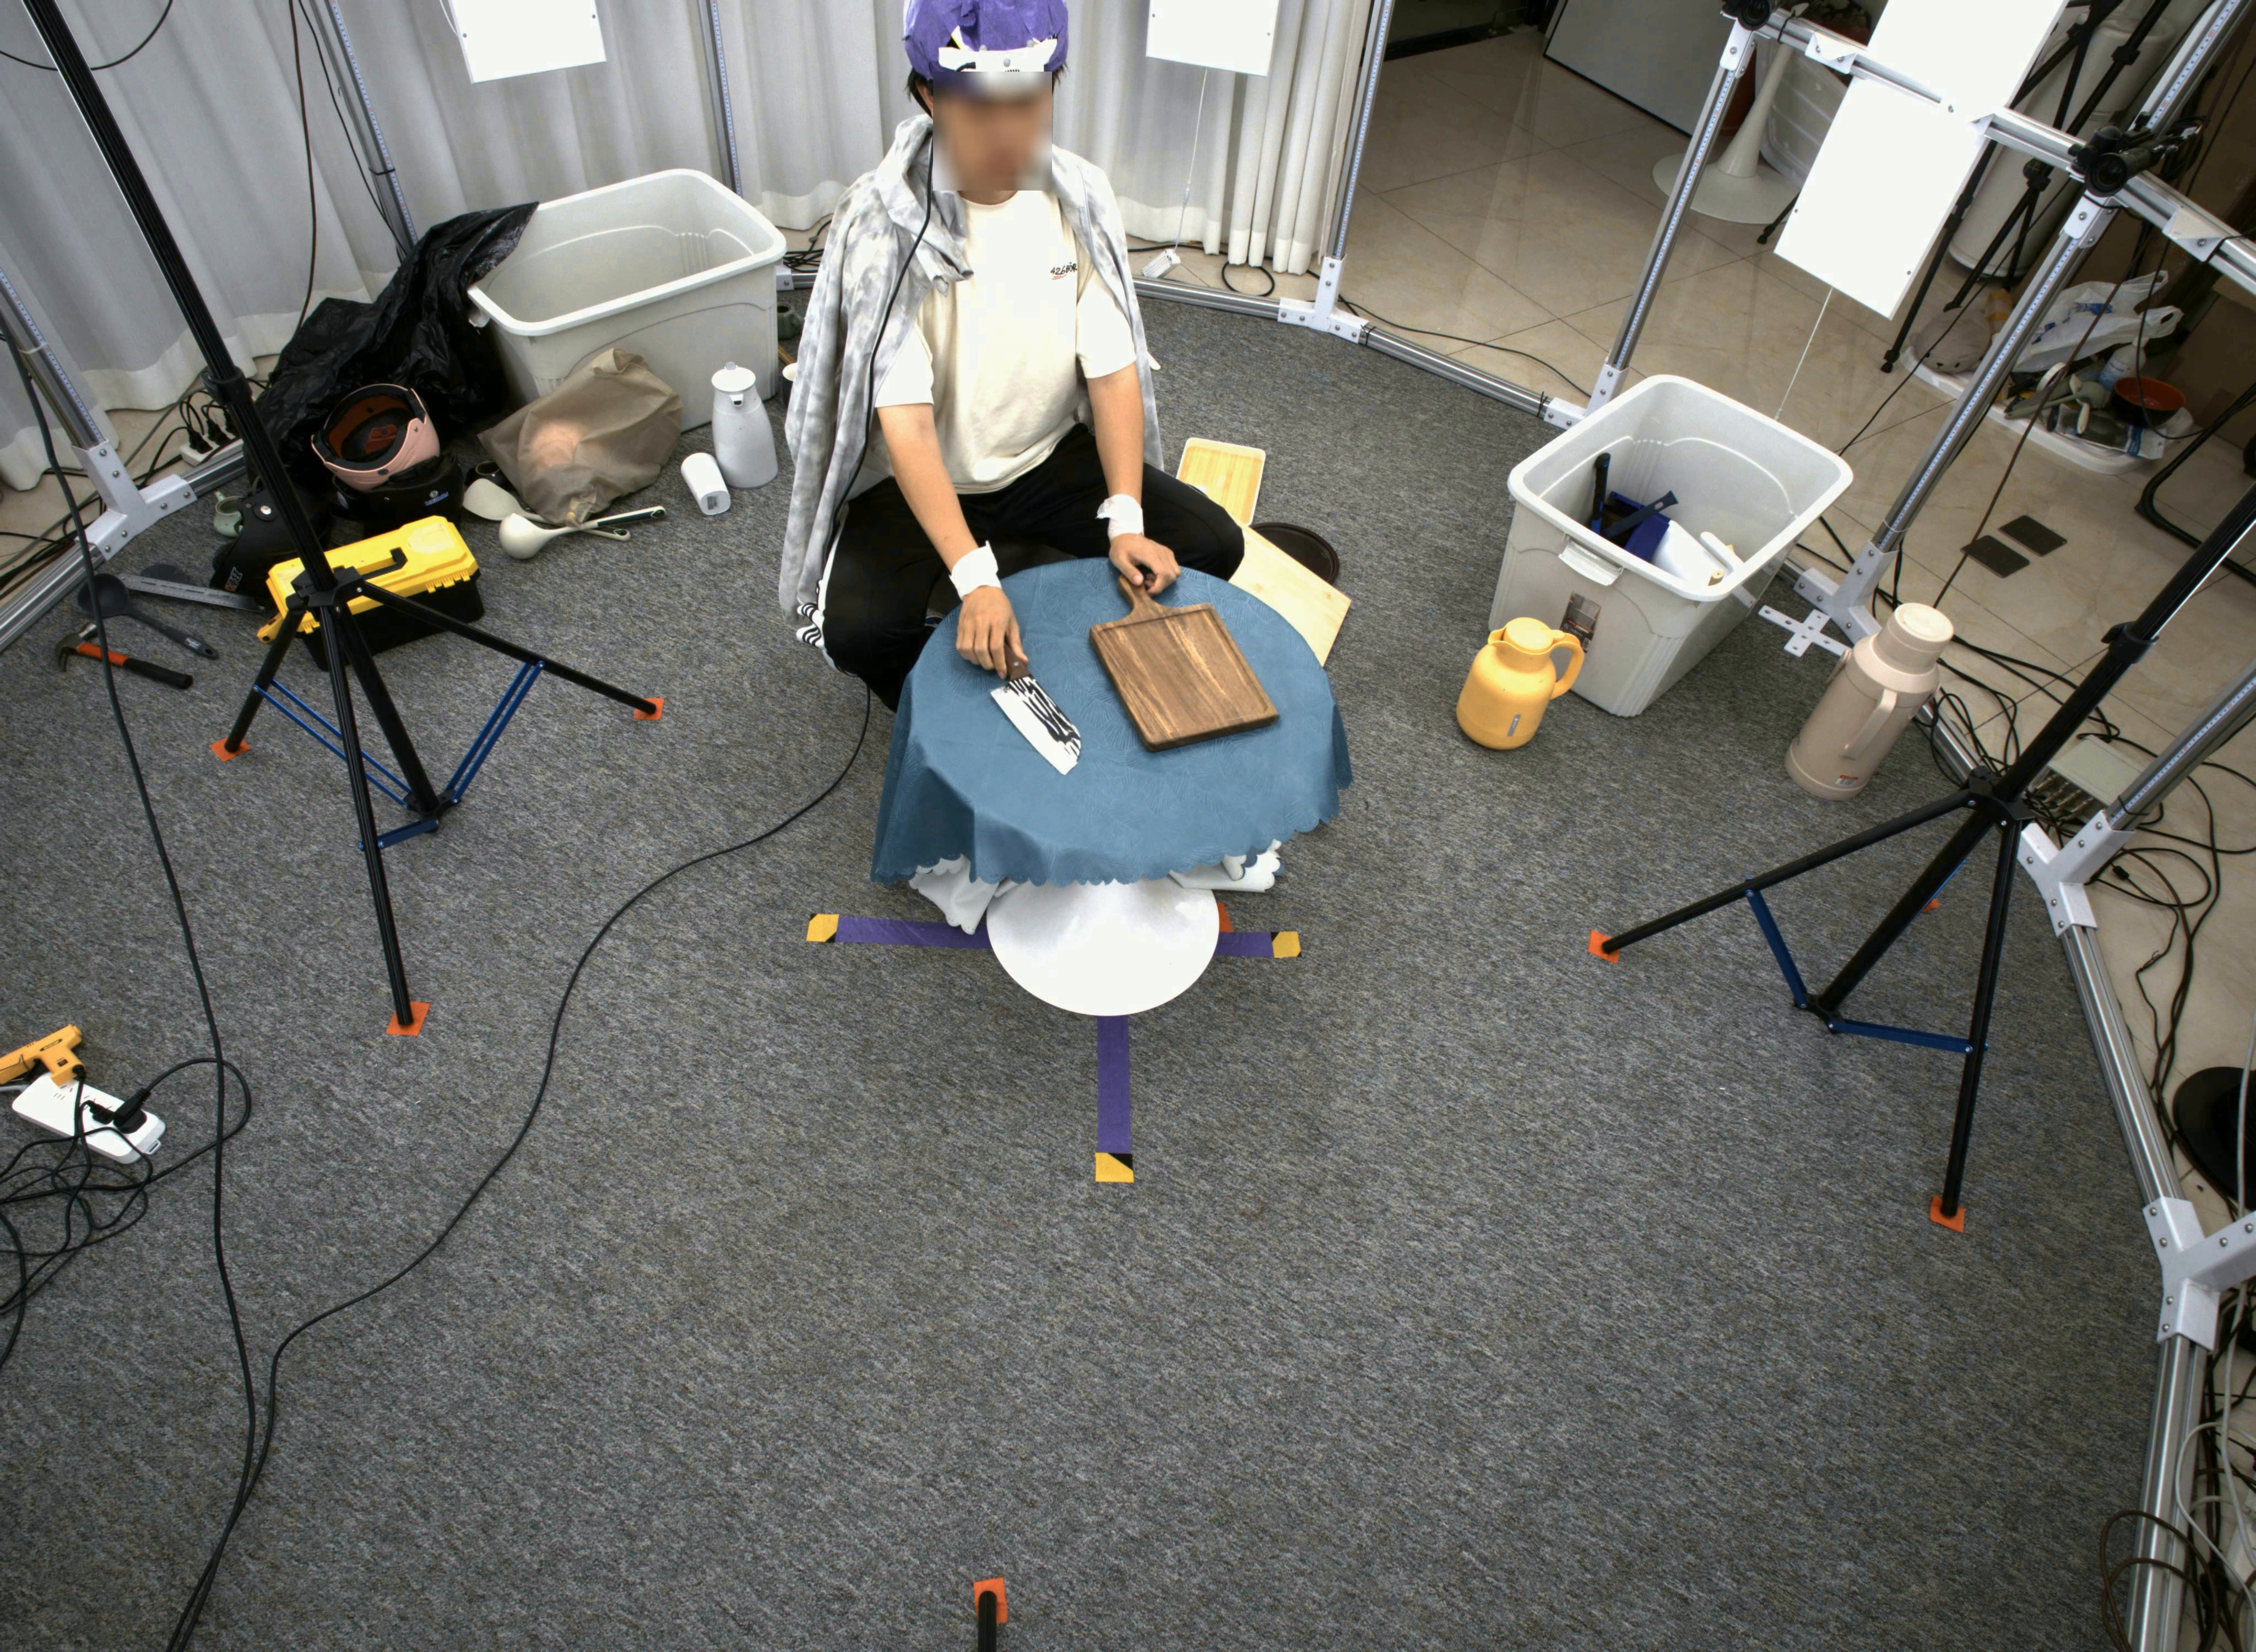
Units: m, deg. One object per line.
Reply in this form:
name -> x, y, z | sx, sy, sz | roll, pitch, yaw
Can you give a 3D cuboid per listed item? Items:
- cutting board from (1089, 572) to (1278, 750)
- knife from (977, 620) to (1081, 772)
cutting board -> 0.060, -0.257, 1.876 | 0.201, 0.022, 0.360 | -13, 50, -15
knife -> -0.148, -0.185, 1.799 | 0.068, 0.023, 0.305 | -26, 57, -20
